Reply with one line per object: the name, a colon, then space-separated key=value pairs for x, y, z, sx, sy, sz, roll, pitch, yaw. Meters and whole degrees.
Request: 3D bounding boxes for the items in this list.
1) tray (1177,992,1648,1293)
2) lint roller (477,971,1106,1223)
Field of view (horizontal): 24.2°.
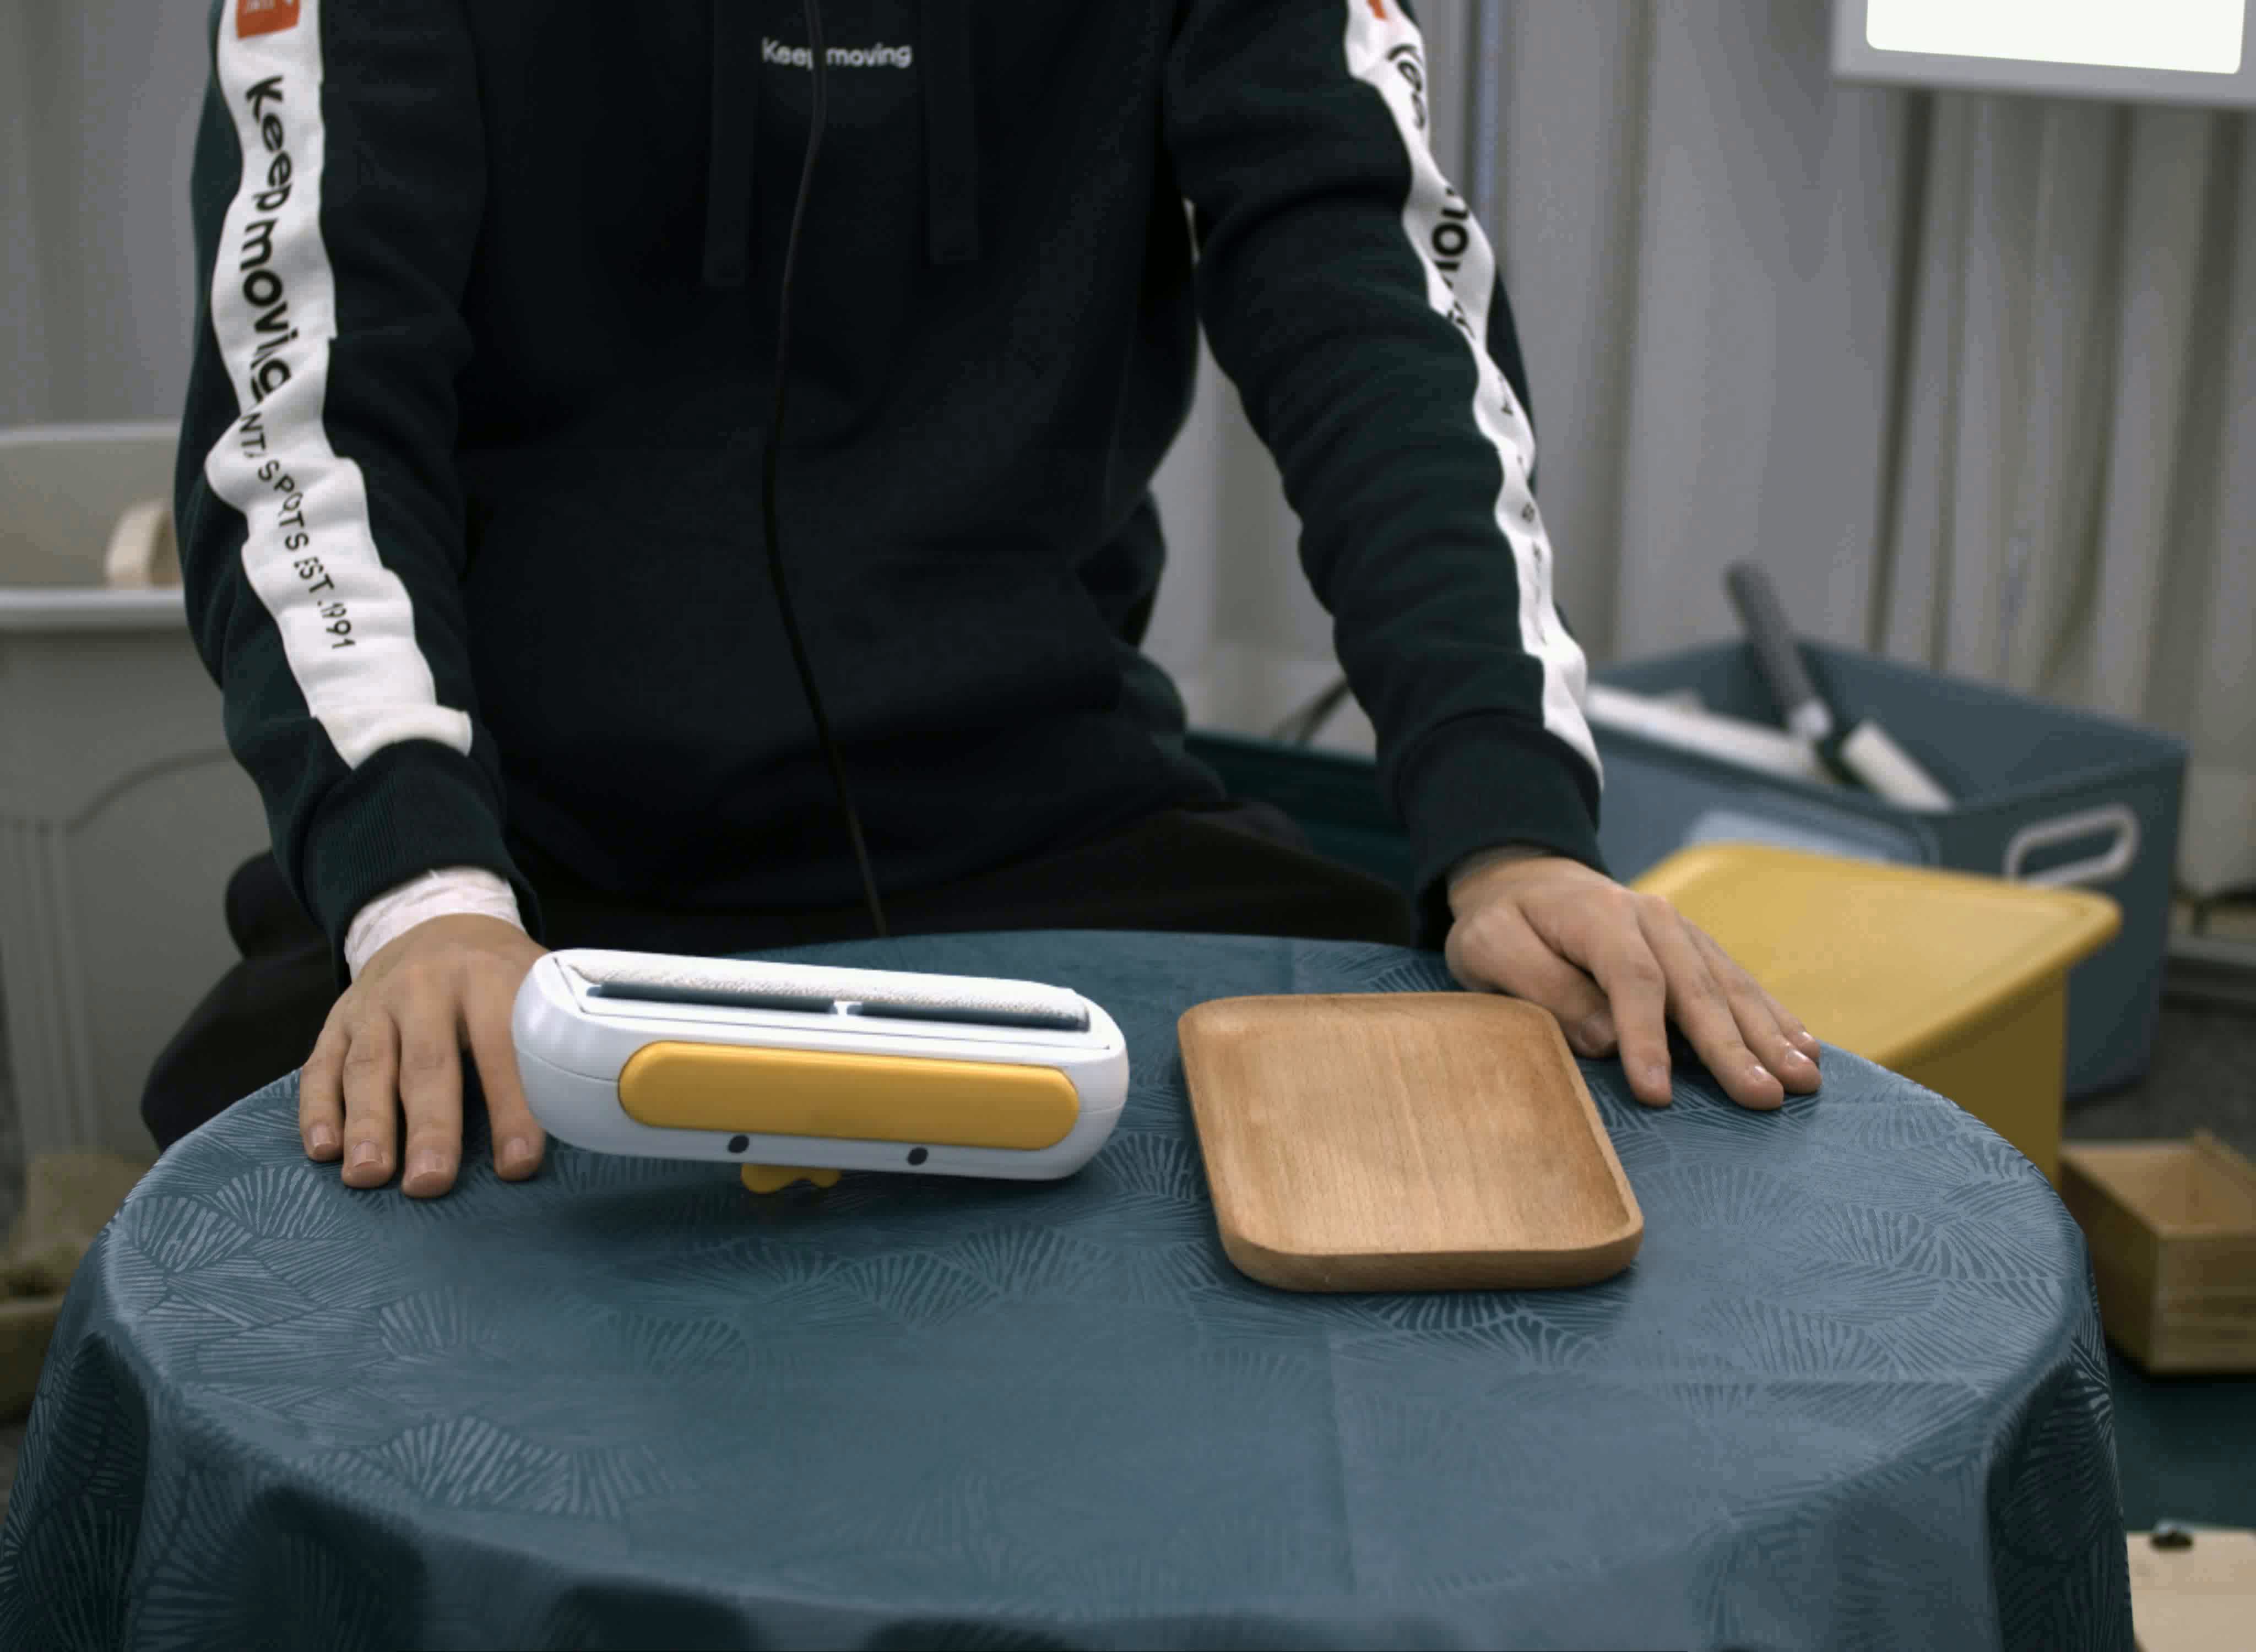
tray: x=0.085 y=0.096 z=1.649 sx=0.130 sy=0.023 sz=0.249 roll=2 pitch=15 yaw=-3
lint roller: x=-0.117 y=0.085 z=1.659 sx=0.193 sy=0.074 sz=0.191 roll=3 pitch=0 yaw=-16
